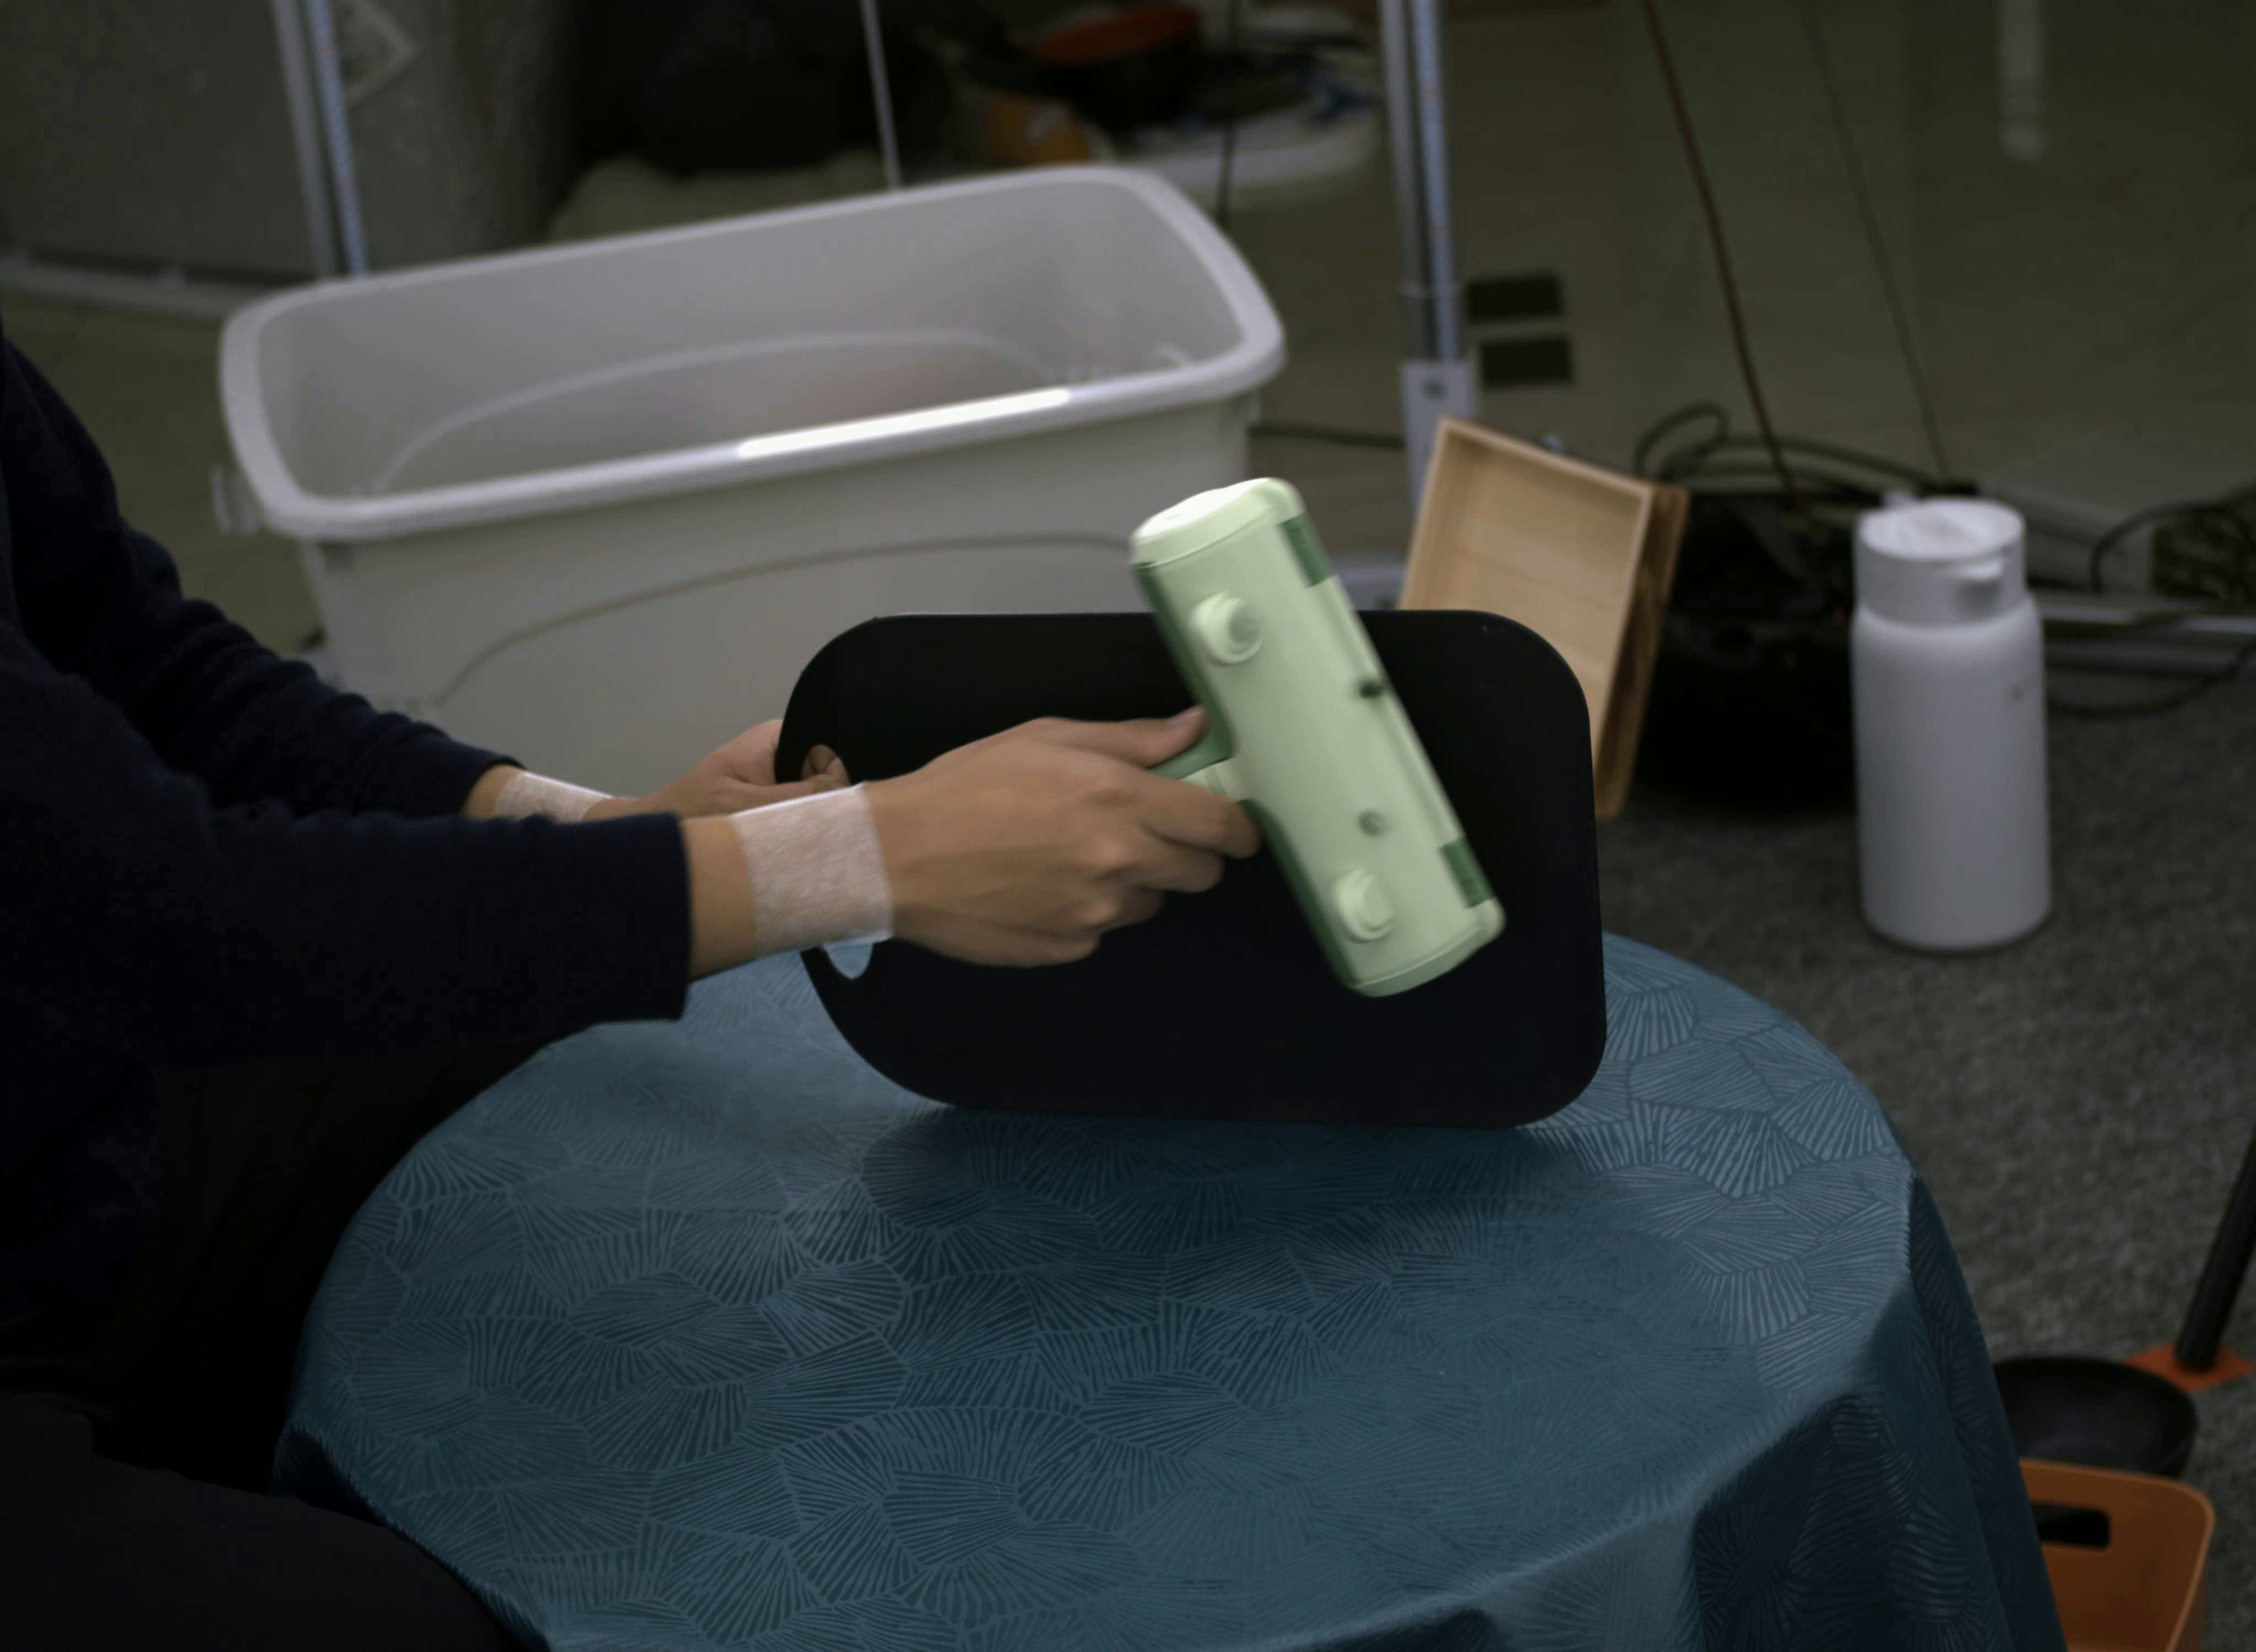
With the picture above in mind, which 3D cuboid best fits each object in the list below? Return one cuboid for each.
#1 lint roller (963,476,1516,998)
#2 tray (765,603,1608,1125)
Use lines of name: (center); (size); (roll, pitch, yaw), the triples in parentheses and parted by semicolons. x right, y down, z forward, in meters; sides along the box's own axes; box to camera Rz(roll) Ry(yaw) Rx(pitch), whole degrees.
lint roller: (0.022, -0.006, 2.079); (0.183, 0.200, 0.081); (-26, 14, 5)
tray: (0.018, 0.016, 2.151); (0.325, 0.214, 0.009); (0, 23, 15)
